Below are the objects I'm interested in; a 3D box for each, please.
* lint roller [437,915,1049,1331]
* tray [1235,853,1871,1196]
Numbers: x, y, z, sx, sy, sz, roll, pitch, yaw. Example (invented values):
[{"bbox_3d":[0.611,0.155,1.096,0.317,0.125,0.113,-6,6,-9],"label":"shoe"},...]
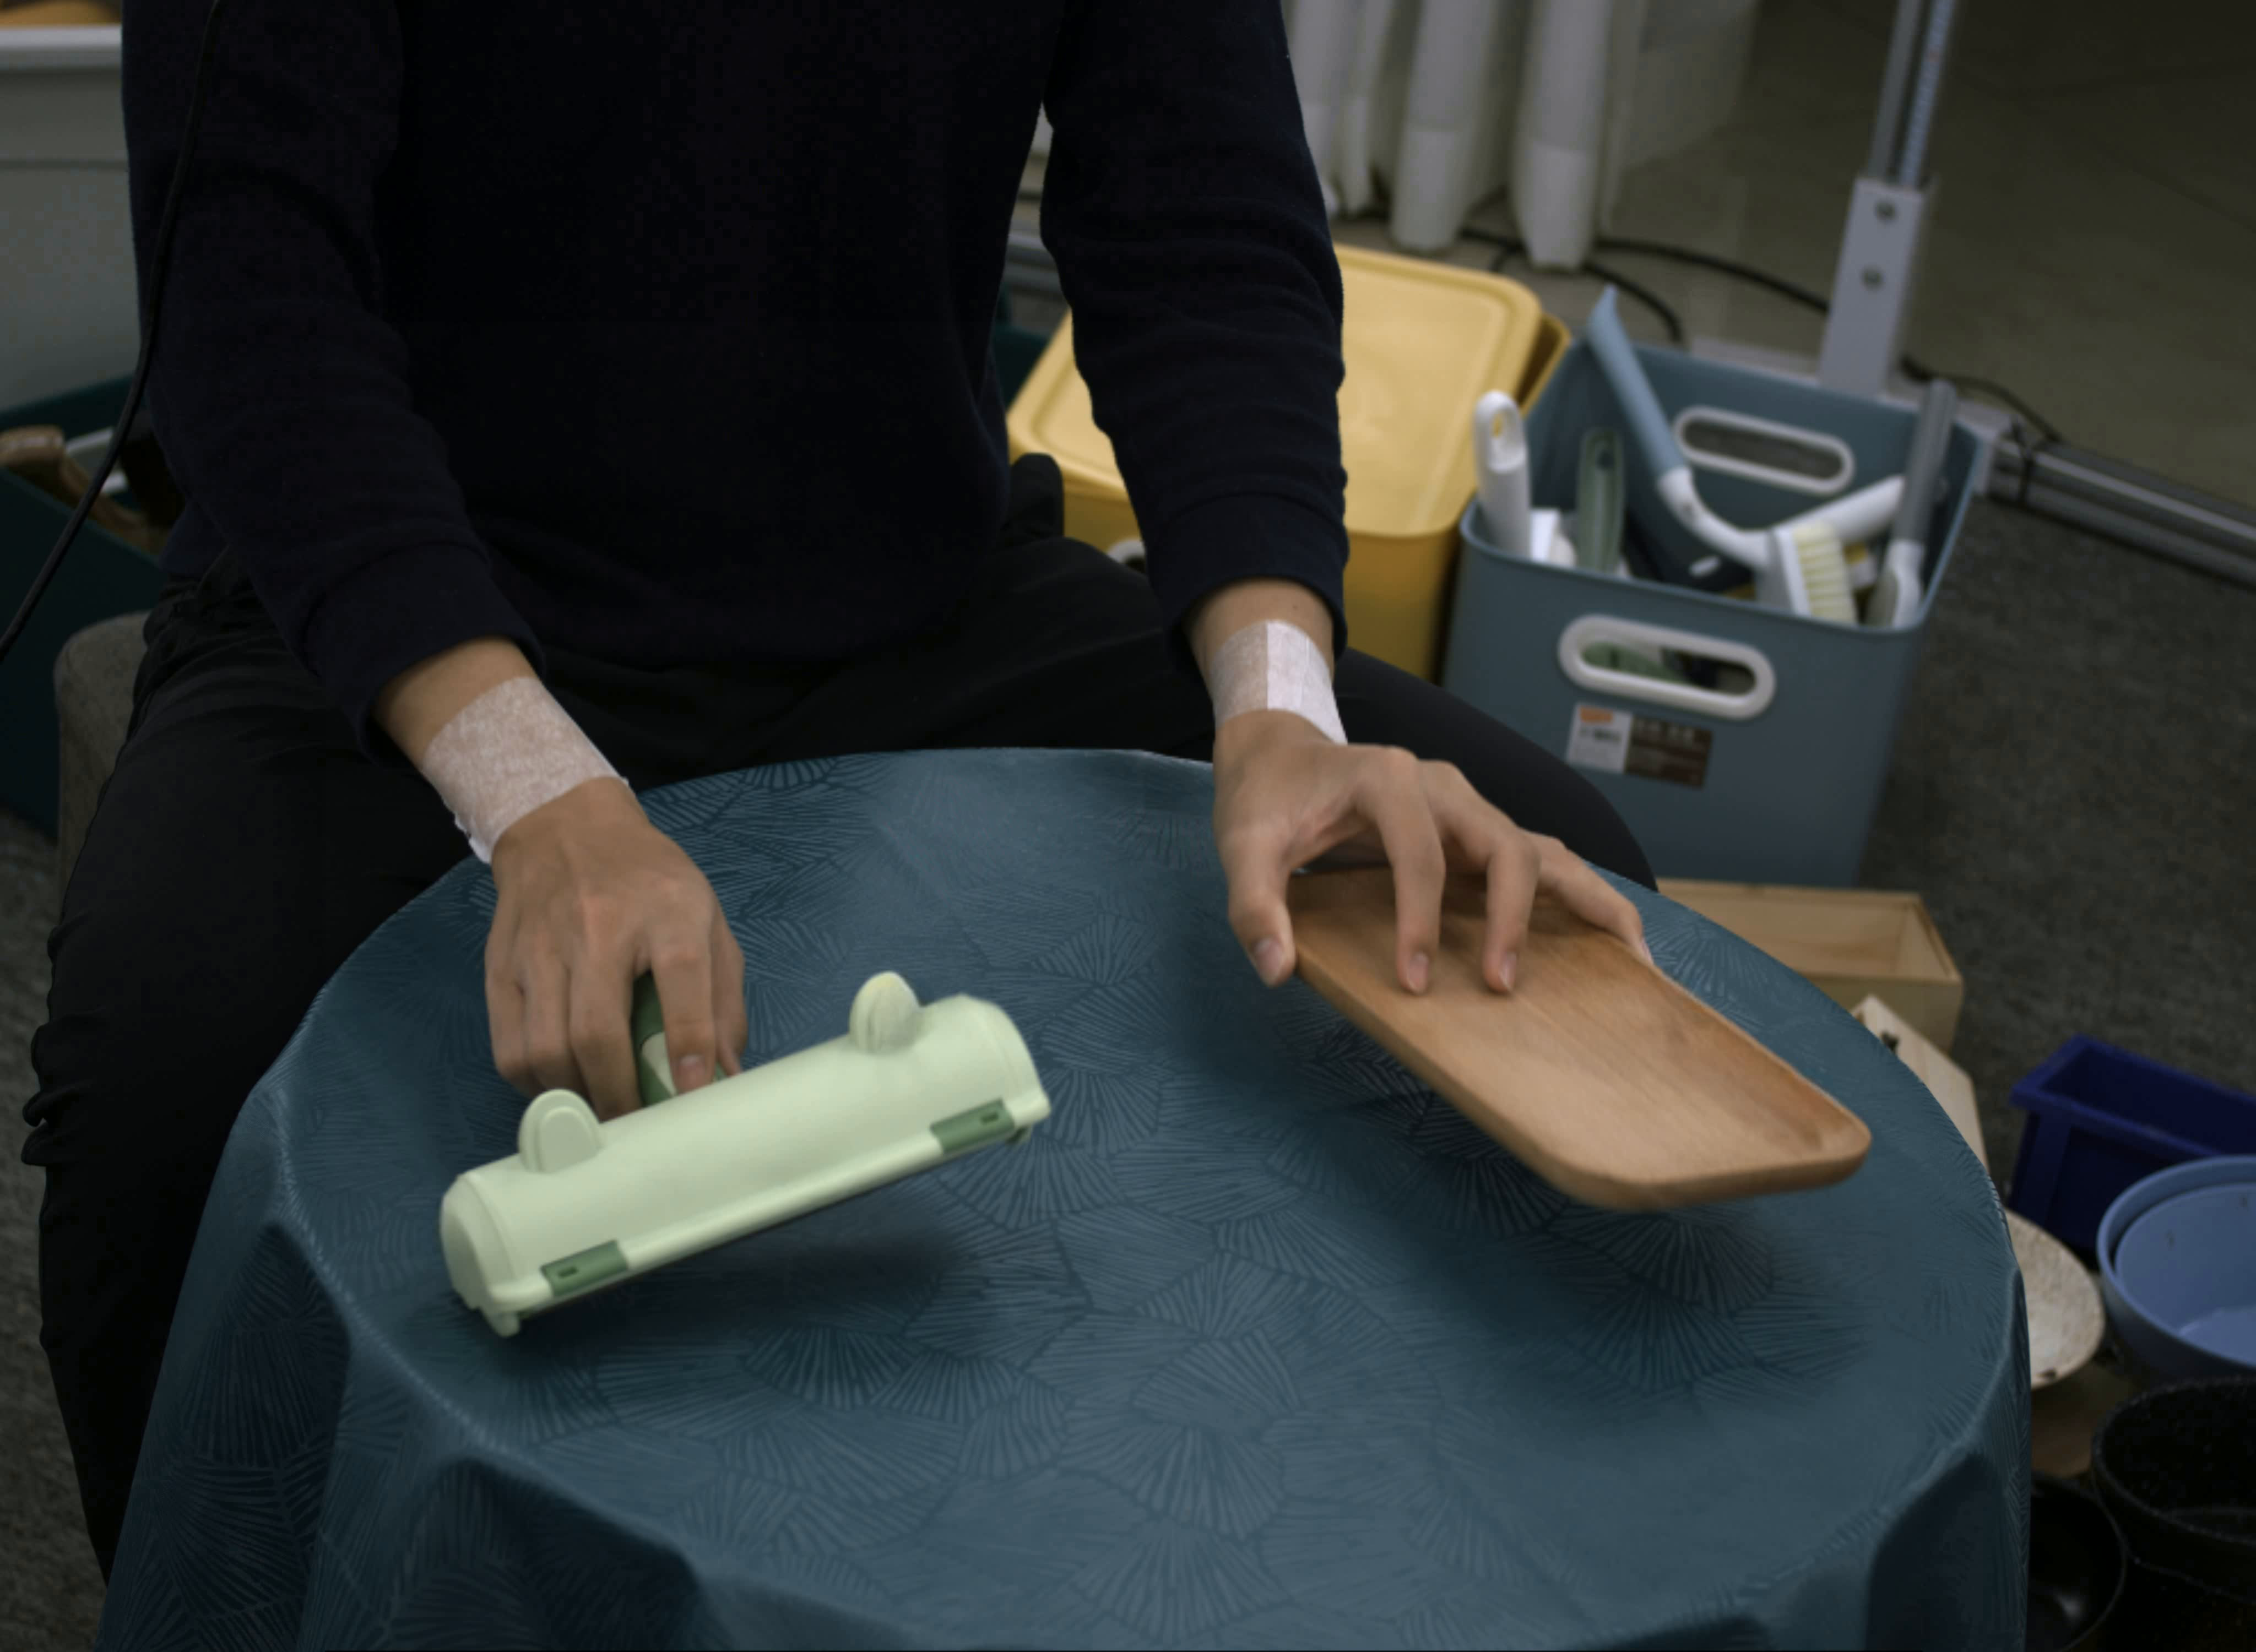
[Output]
[{"bbox_3d":[-0.150,0.067,1.740,0.198,0.082,0.185,-21,46,-20],"label":"lint roller"},{"bbox_3d":[0.142,0.066,1.836,0.129,0.023,0.253,-1,22,-29],"label":"tray"}]
